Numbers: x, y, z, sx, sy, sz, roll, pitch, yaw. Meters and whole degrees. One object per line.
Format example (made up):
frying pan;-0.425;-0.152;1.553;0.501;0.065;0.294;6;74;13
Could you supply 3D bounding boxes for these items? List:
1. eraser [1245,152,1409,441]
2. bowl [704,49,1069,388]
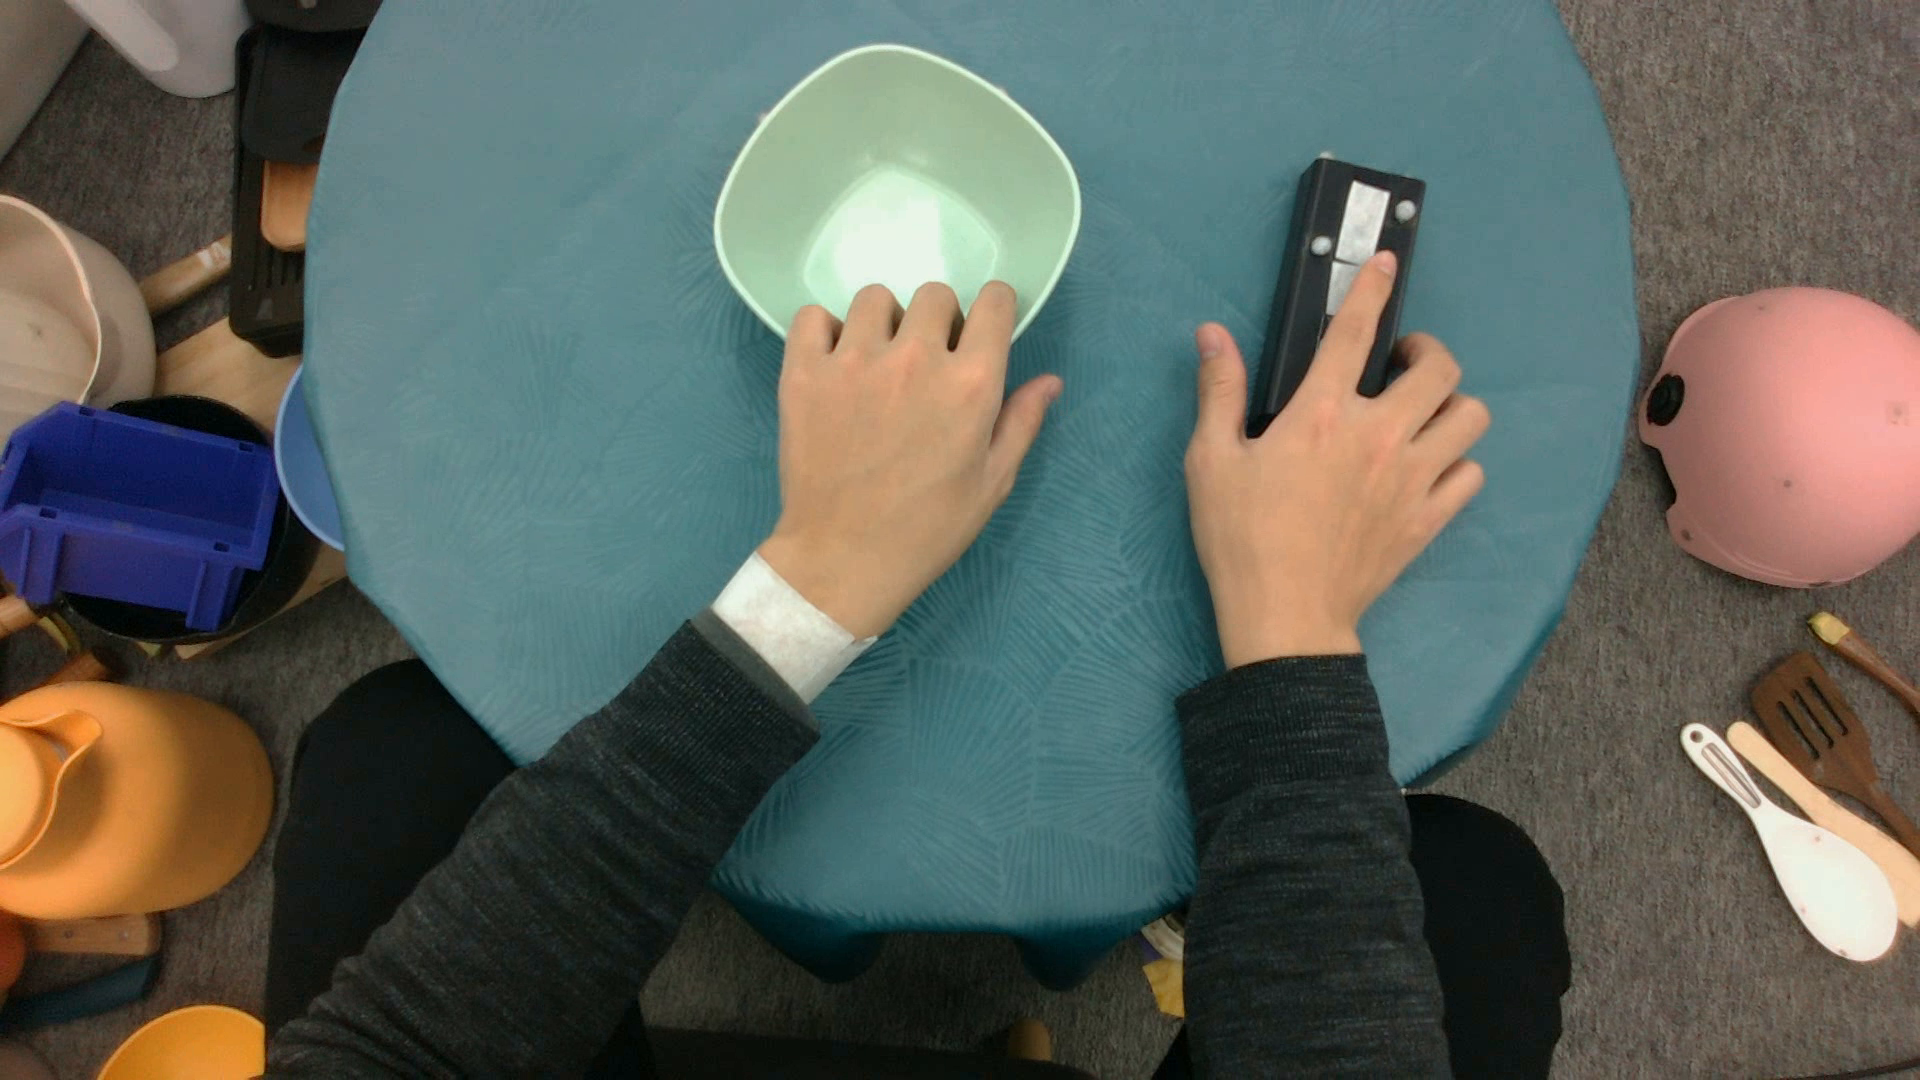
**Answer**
eraser;0.162;-0.109;0.612;0.053;0.030;0.126;11;79;2
bowl;-0.030;-0.129;0.593;0.151;0.058;0.152;0;78;-1
